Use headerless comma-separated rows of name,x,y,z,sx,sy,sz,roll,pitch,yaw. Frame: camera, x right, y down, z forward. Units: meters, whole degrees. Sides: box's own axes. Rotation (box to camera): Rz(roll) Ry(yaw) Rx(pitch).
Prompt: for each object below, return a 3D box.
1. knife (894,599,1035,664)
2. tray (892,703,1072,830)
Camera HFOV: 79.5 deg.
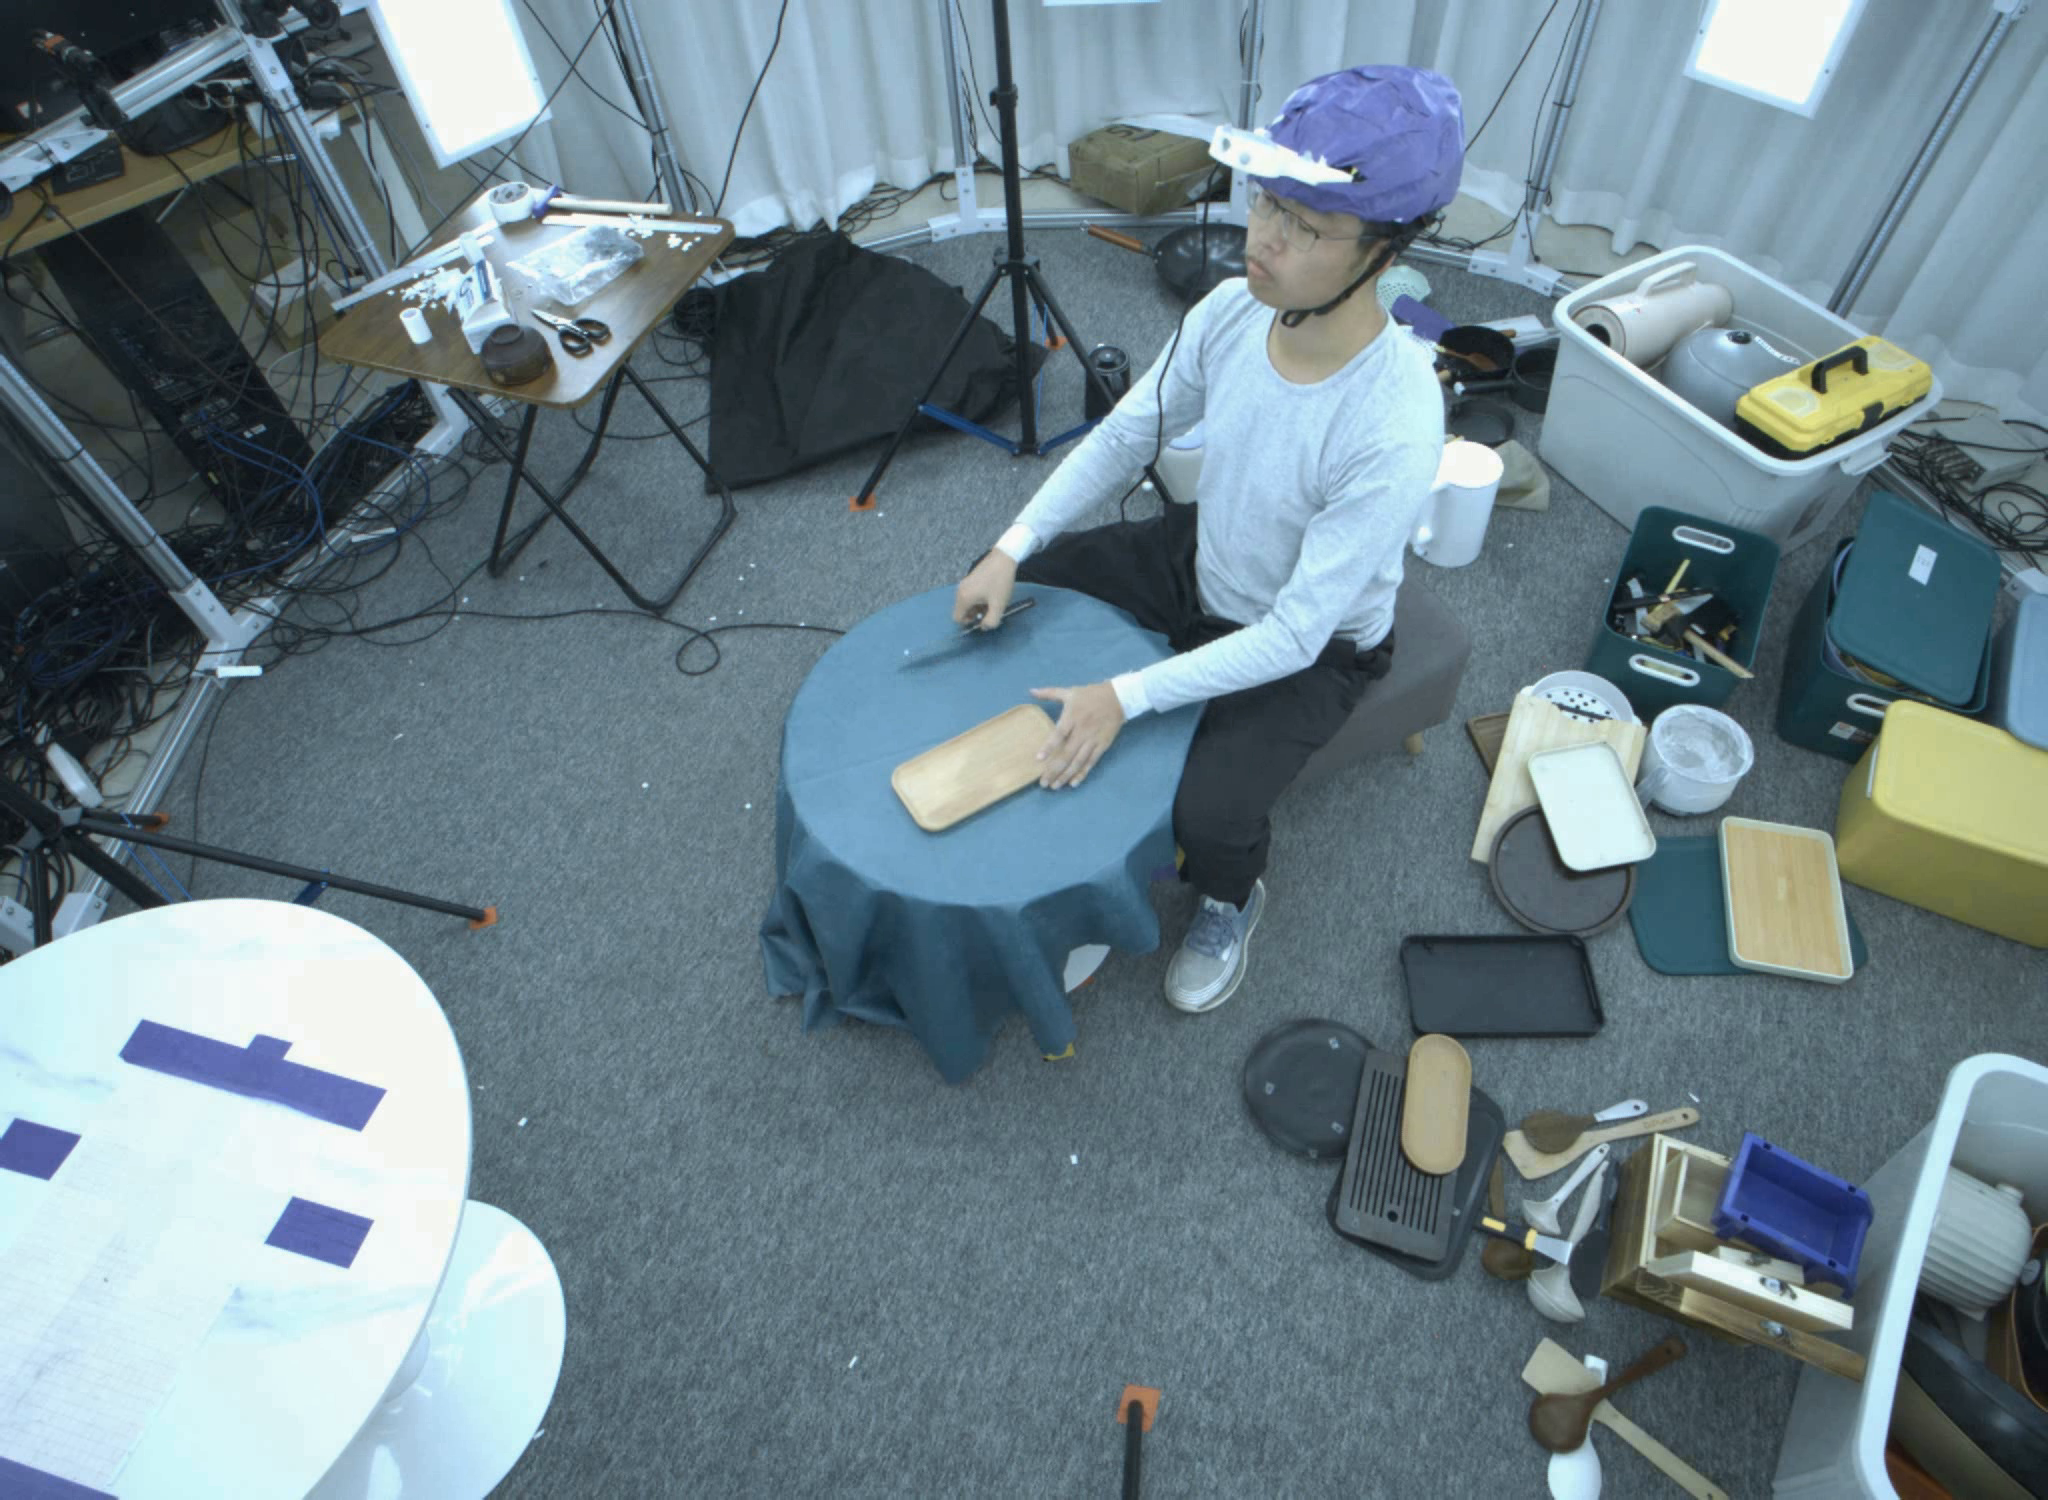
knife,-0.093,-0.182,1.895,0.239,0.016,0.024,-25,18,-9
tray,-0.059,0.022,1.771,0.253,0.023,0.128,-26,61,-17
